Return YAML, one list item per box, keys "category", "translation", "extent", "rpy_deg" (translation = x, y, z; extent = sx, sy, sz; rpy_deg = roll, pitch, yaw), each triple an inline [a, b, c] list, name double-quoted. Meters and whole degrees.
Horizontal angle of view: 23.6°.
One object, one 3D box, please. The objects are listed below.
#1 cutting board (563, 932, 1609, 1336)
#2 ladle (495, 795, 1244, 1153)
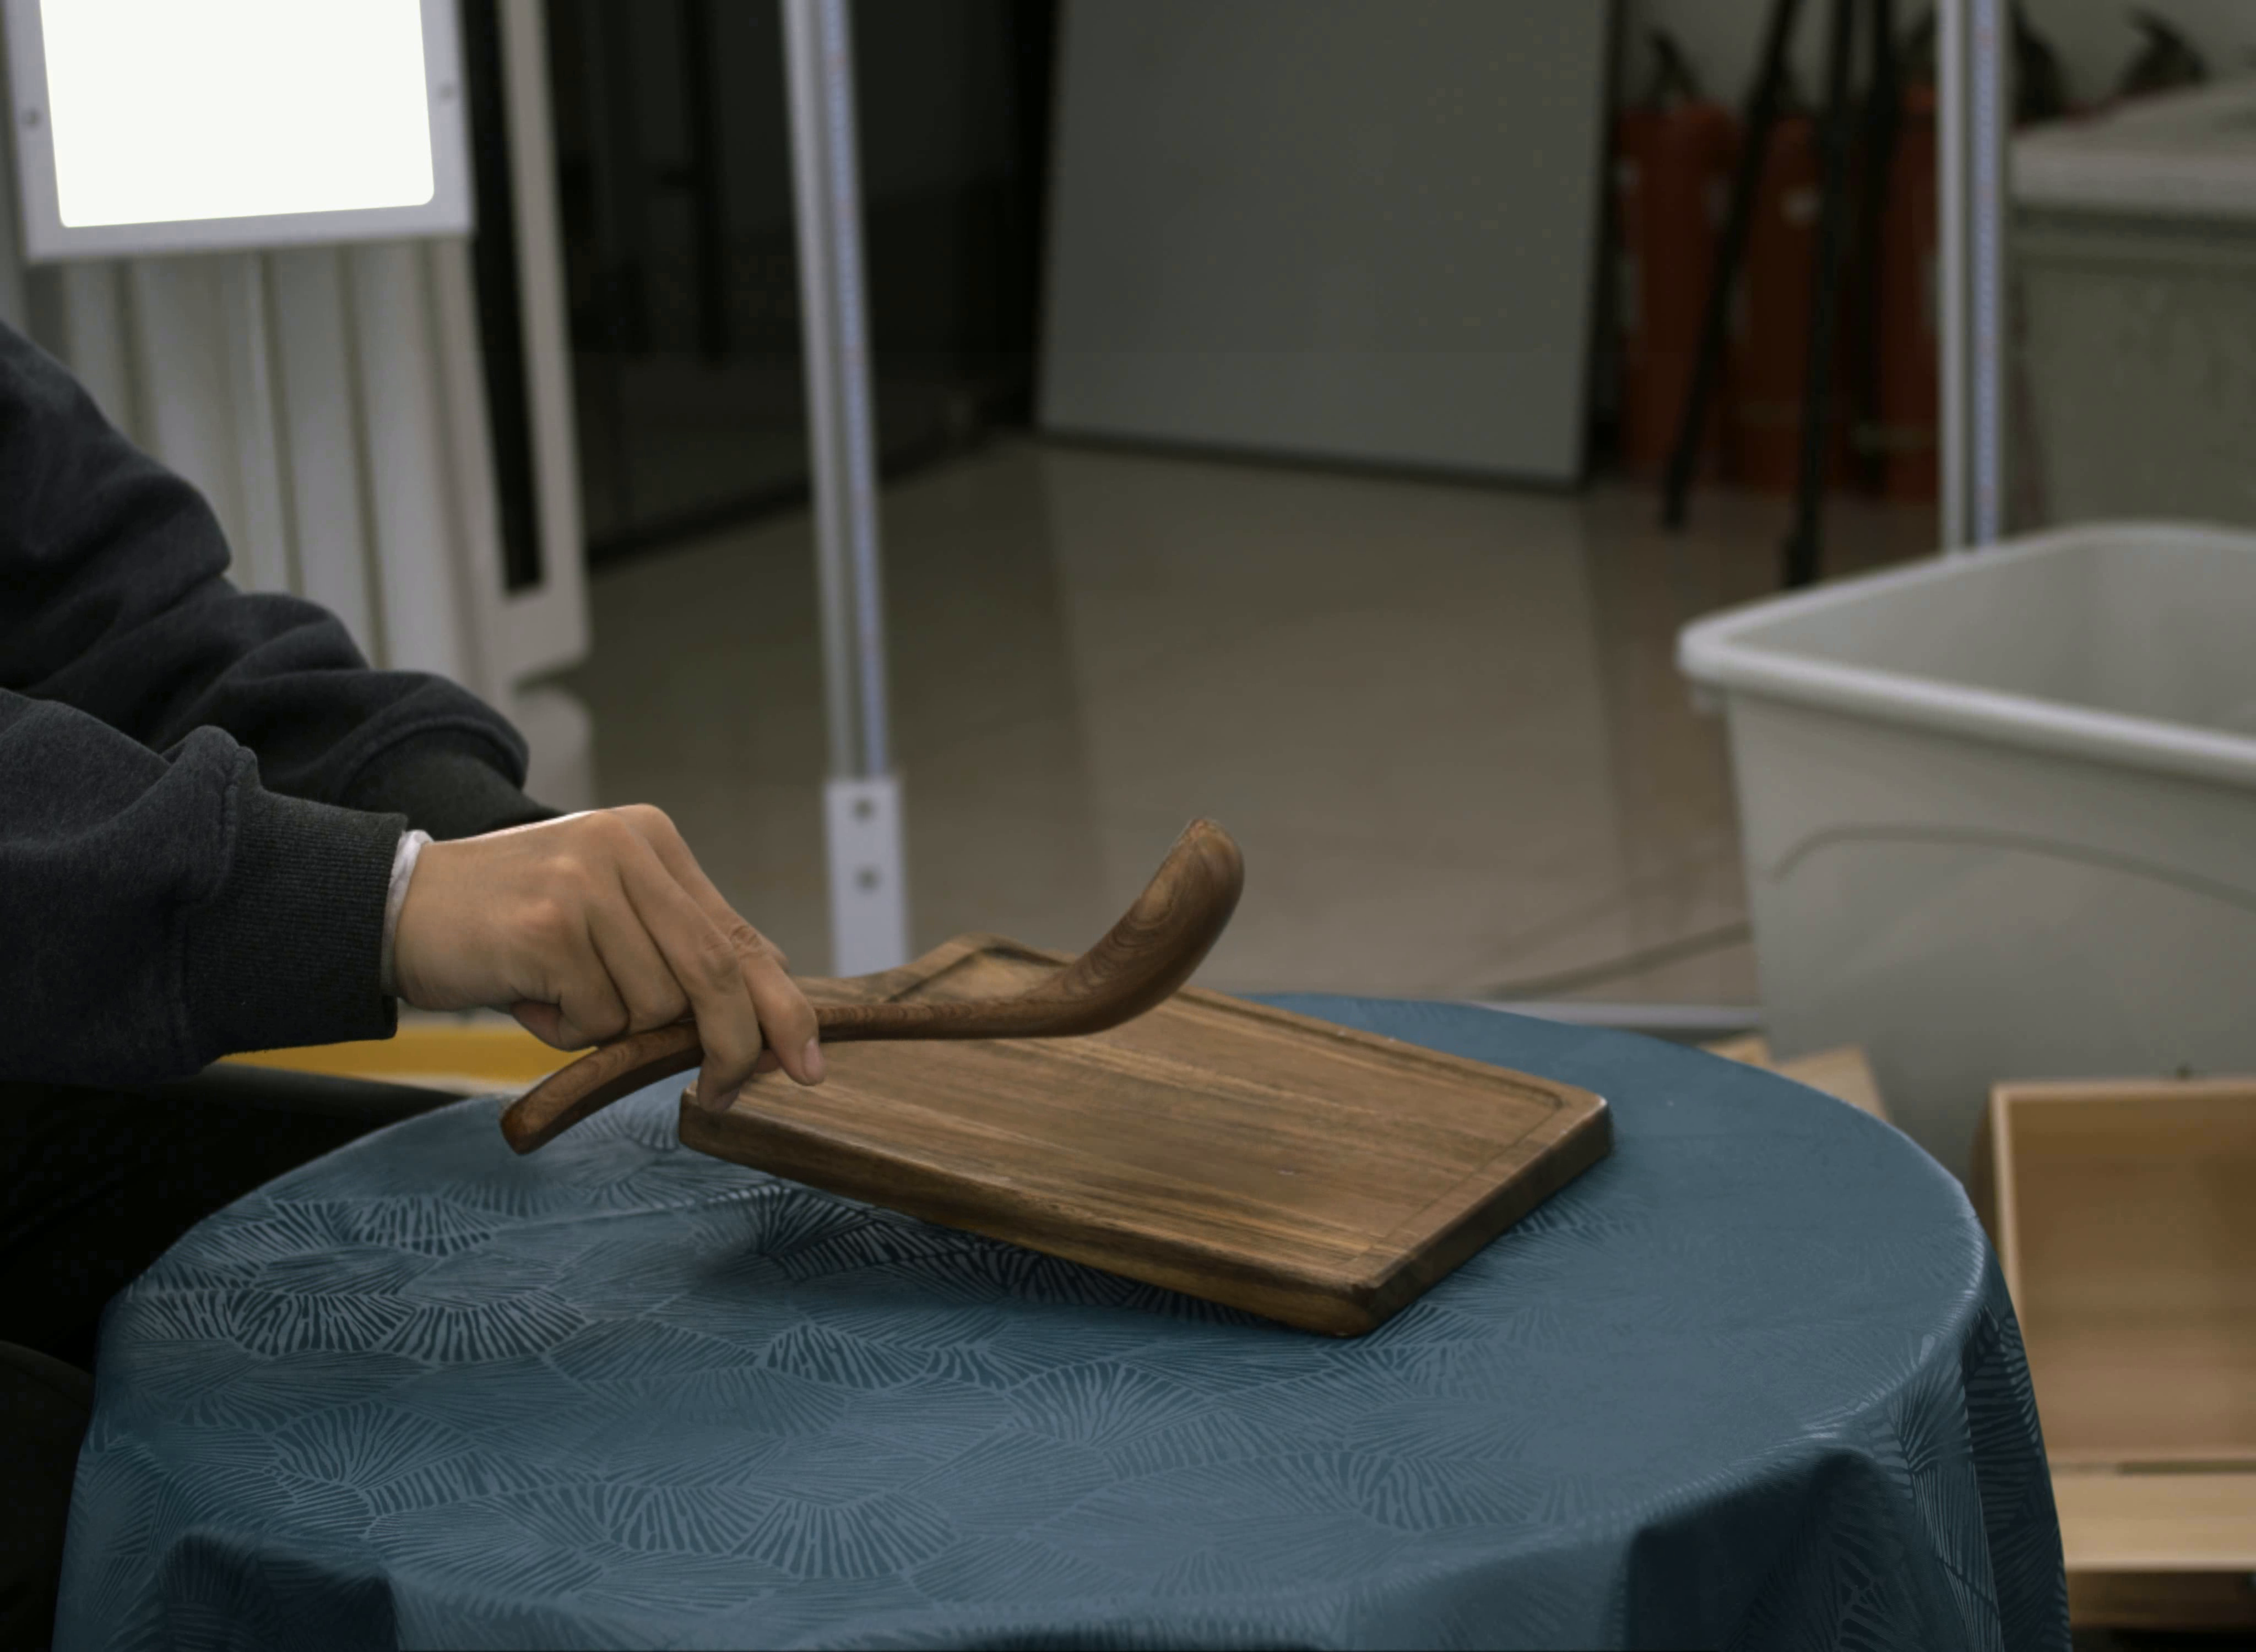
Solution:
- category: "cutting board"
  translation: [-0.035, 0.085, 1.766]
  extent: [0.353, 0.023, 0.198]
  rpy_deg: [14, 20, 27]
- category: "ladle"
  translation: [-0.079, 0.046, 1.660]
  extent: [0.255, 0.077, 0.066]
  rpy_deg: [-11, 58, -21]
